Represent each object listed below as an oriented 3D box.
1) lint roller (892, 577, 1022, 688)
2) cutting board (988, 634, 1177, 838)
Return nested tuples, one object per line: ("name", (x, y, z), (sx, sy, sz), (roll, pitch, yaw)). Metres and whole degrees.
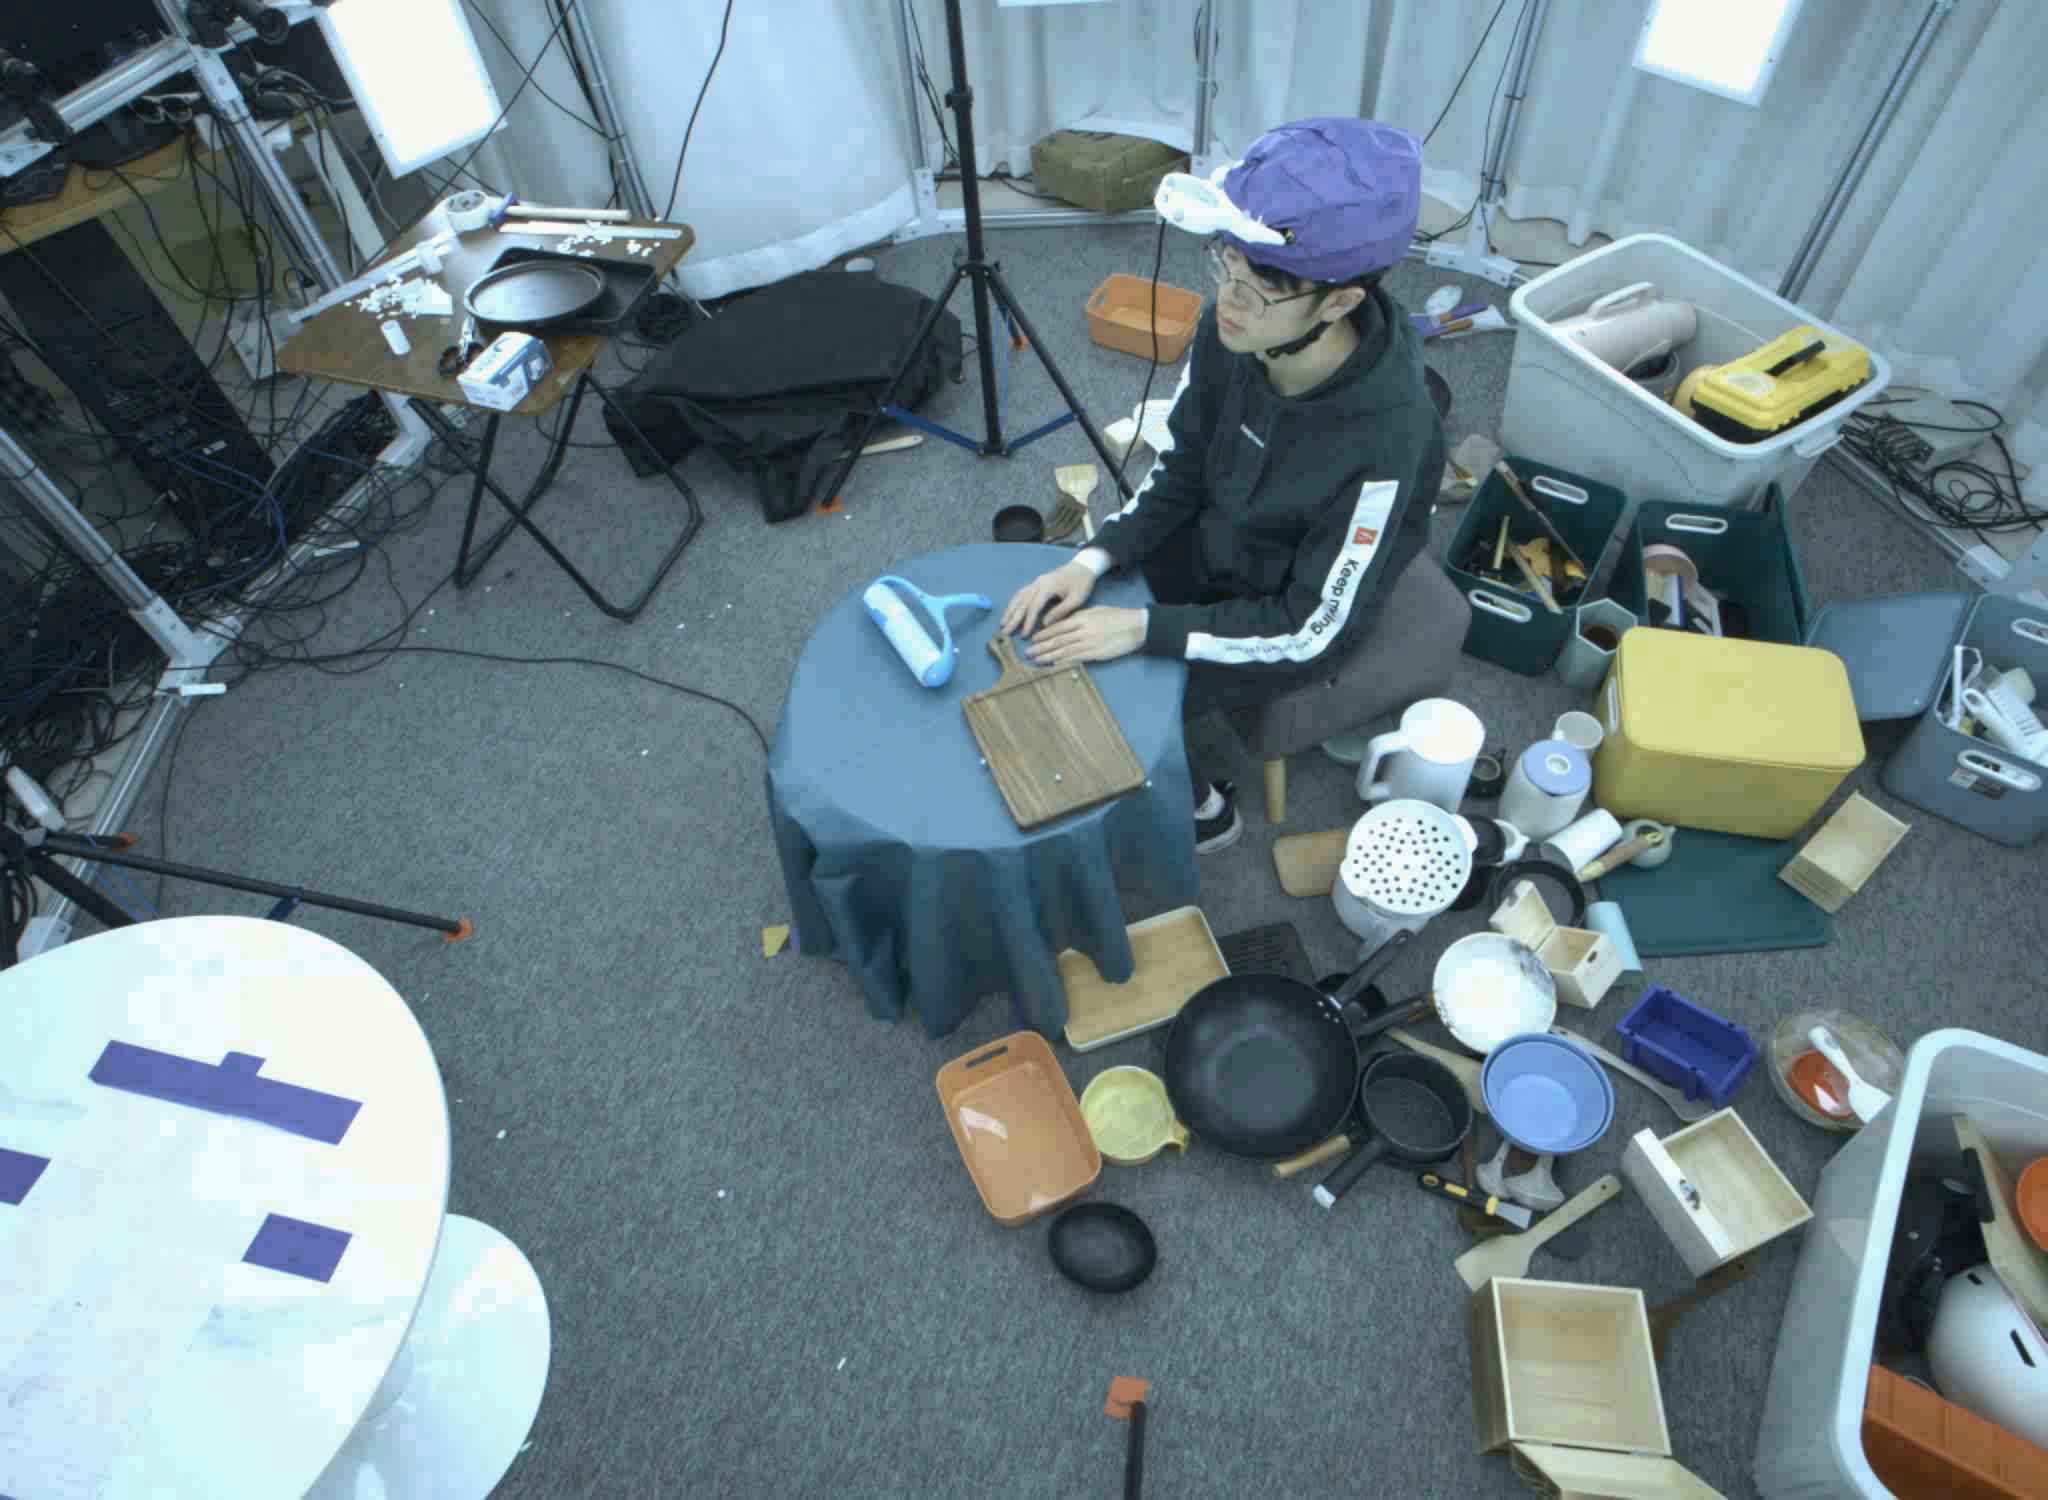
("lint roller", (-0.087, -0.205, 1.896), (0.181, 0.069, 0.224), (-30, 57, -16))
("cutting board", (0.063, -0.041, 1.797), (0.202, 0.023, 0.346), (-18, 56, -11))
